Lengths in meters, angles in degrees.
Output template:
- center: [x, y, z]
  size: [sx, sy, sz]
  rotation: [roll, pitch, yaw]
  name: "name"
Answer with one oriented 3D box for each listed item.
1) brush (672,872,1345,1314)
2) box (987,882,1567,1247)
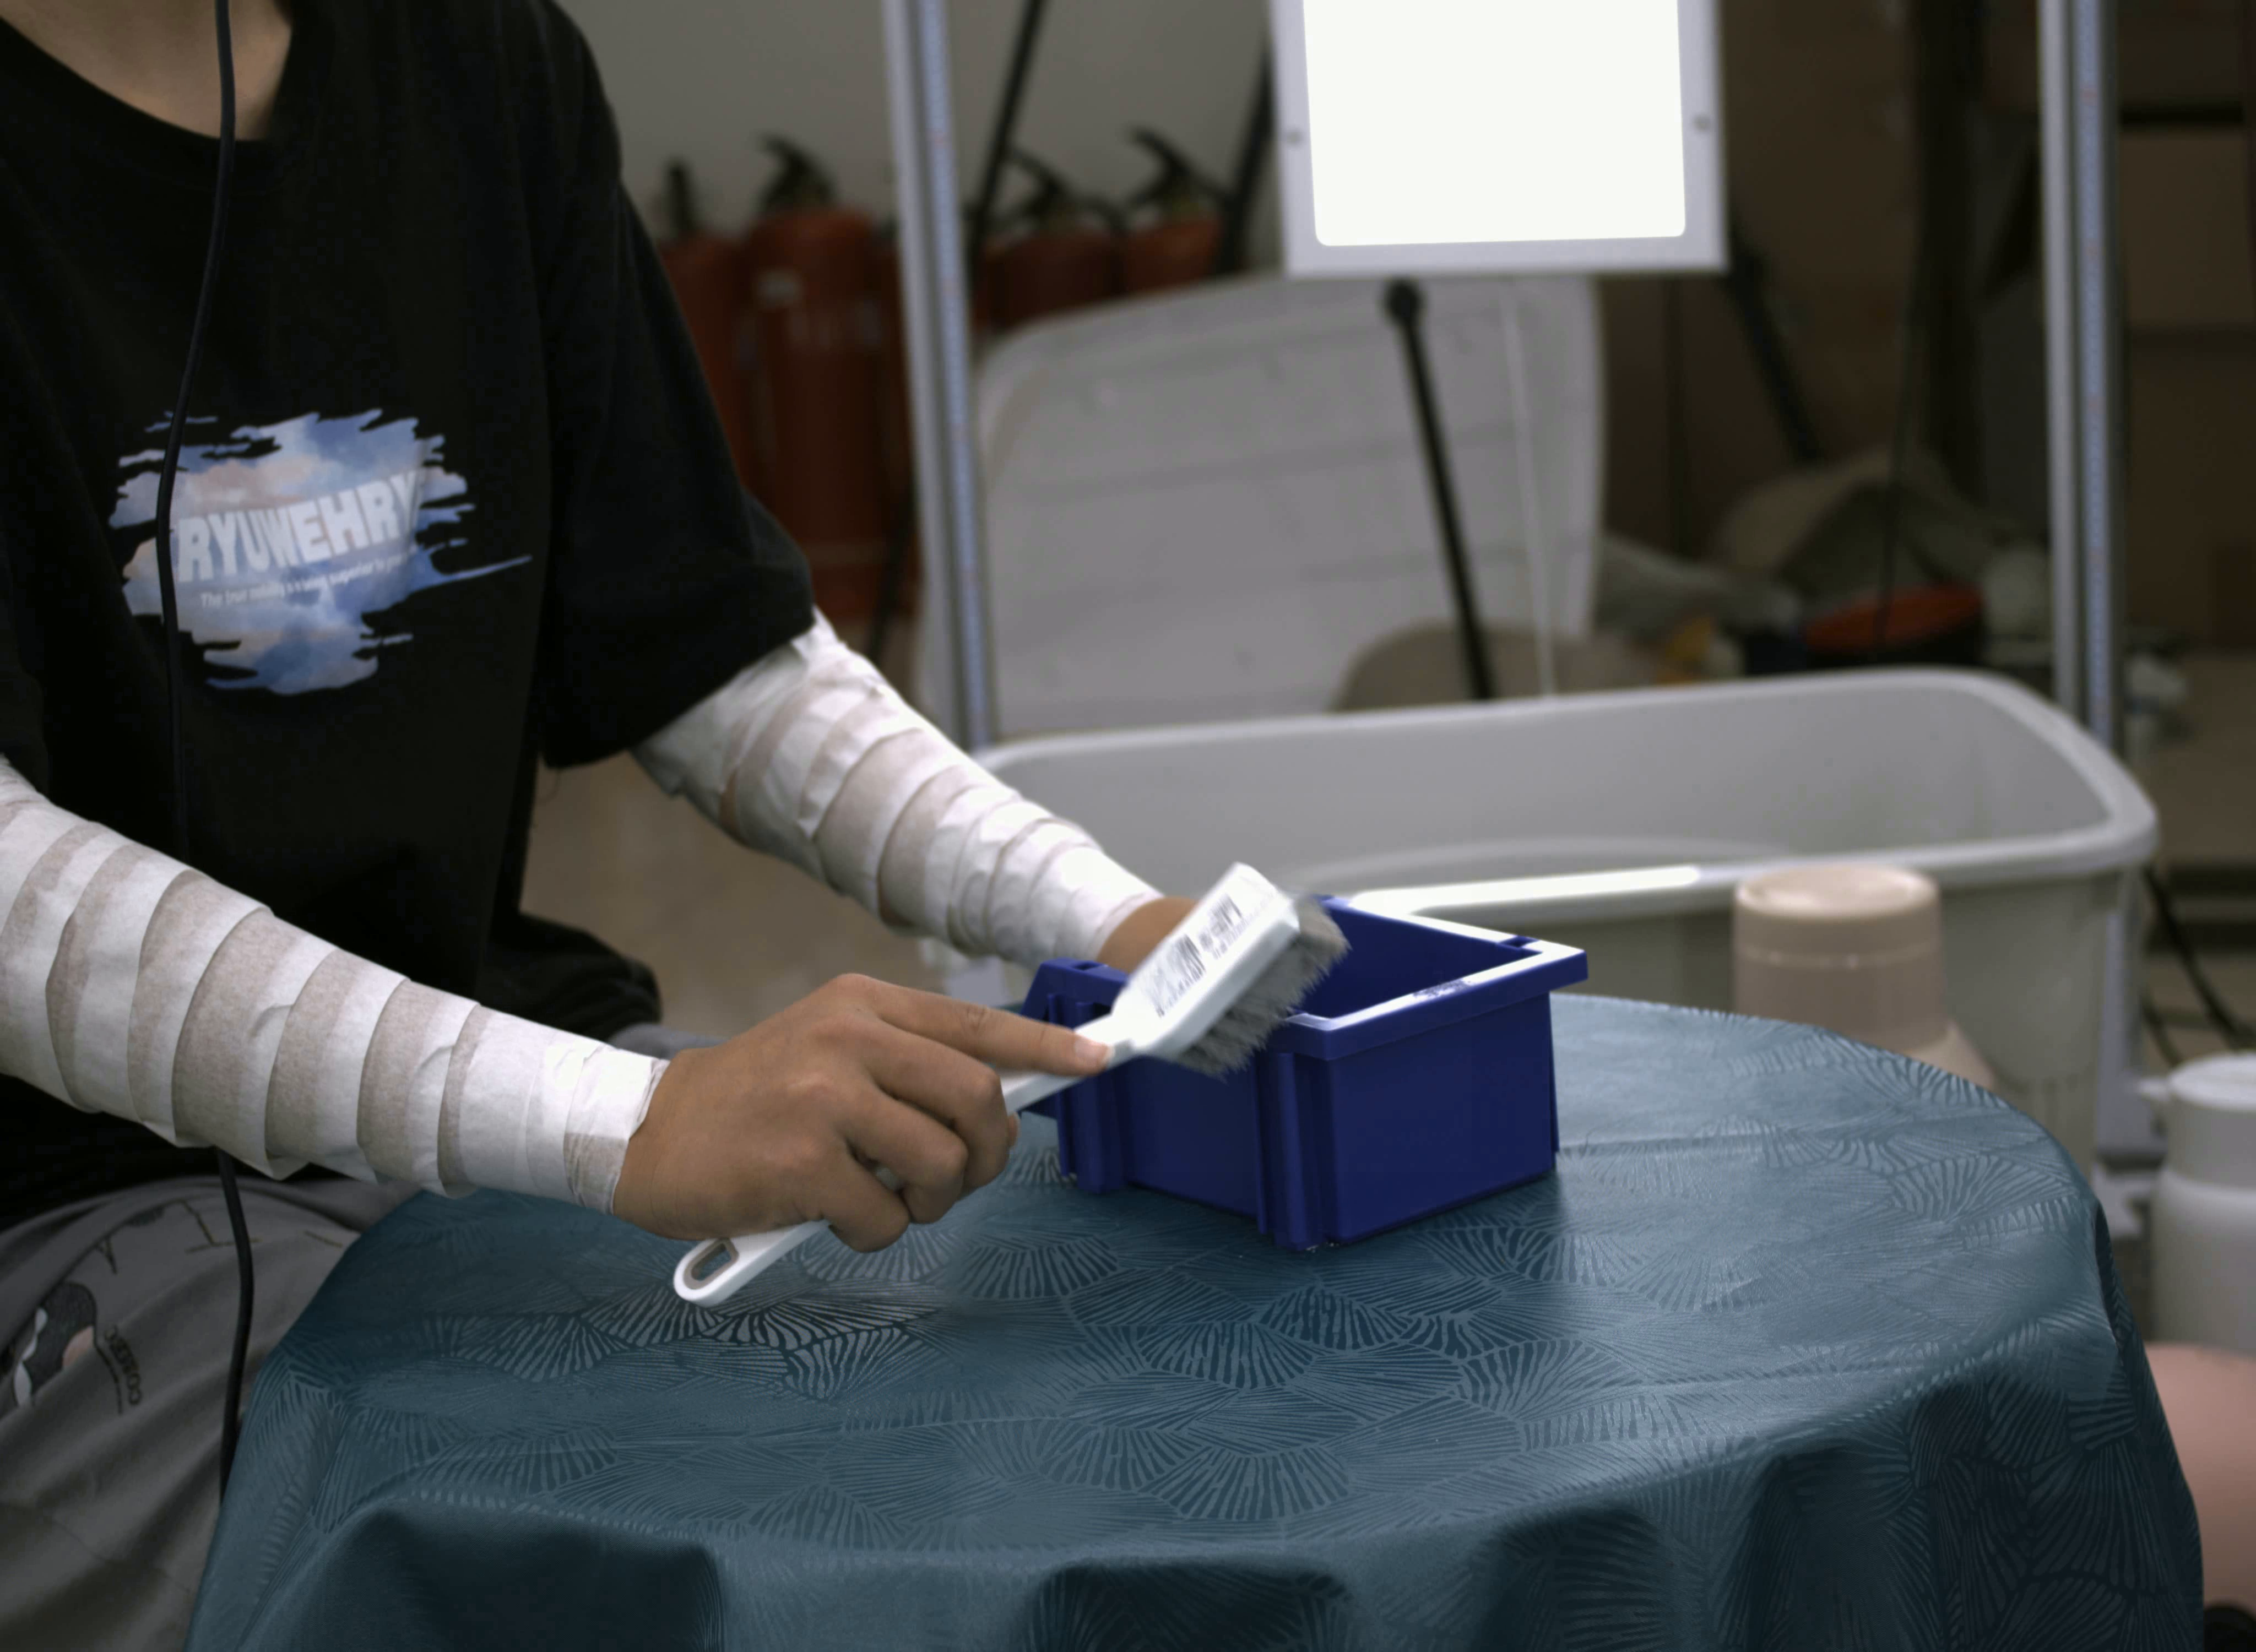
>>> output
- center: [-0.037, 0.097, 1.783]
  size: [0.243, 0.050, 0.035]
  rotation: [-34, 41, 0]
  name: "brush"
- center: [0.048, 0.079, 1.903]
  size: [0.121, 0.082, 0.183]
  rotation: [-15, 18, -35]
  name: "box"
